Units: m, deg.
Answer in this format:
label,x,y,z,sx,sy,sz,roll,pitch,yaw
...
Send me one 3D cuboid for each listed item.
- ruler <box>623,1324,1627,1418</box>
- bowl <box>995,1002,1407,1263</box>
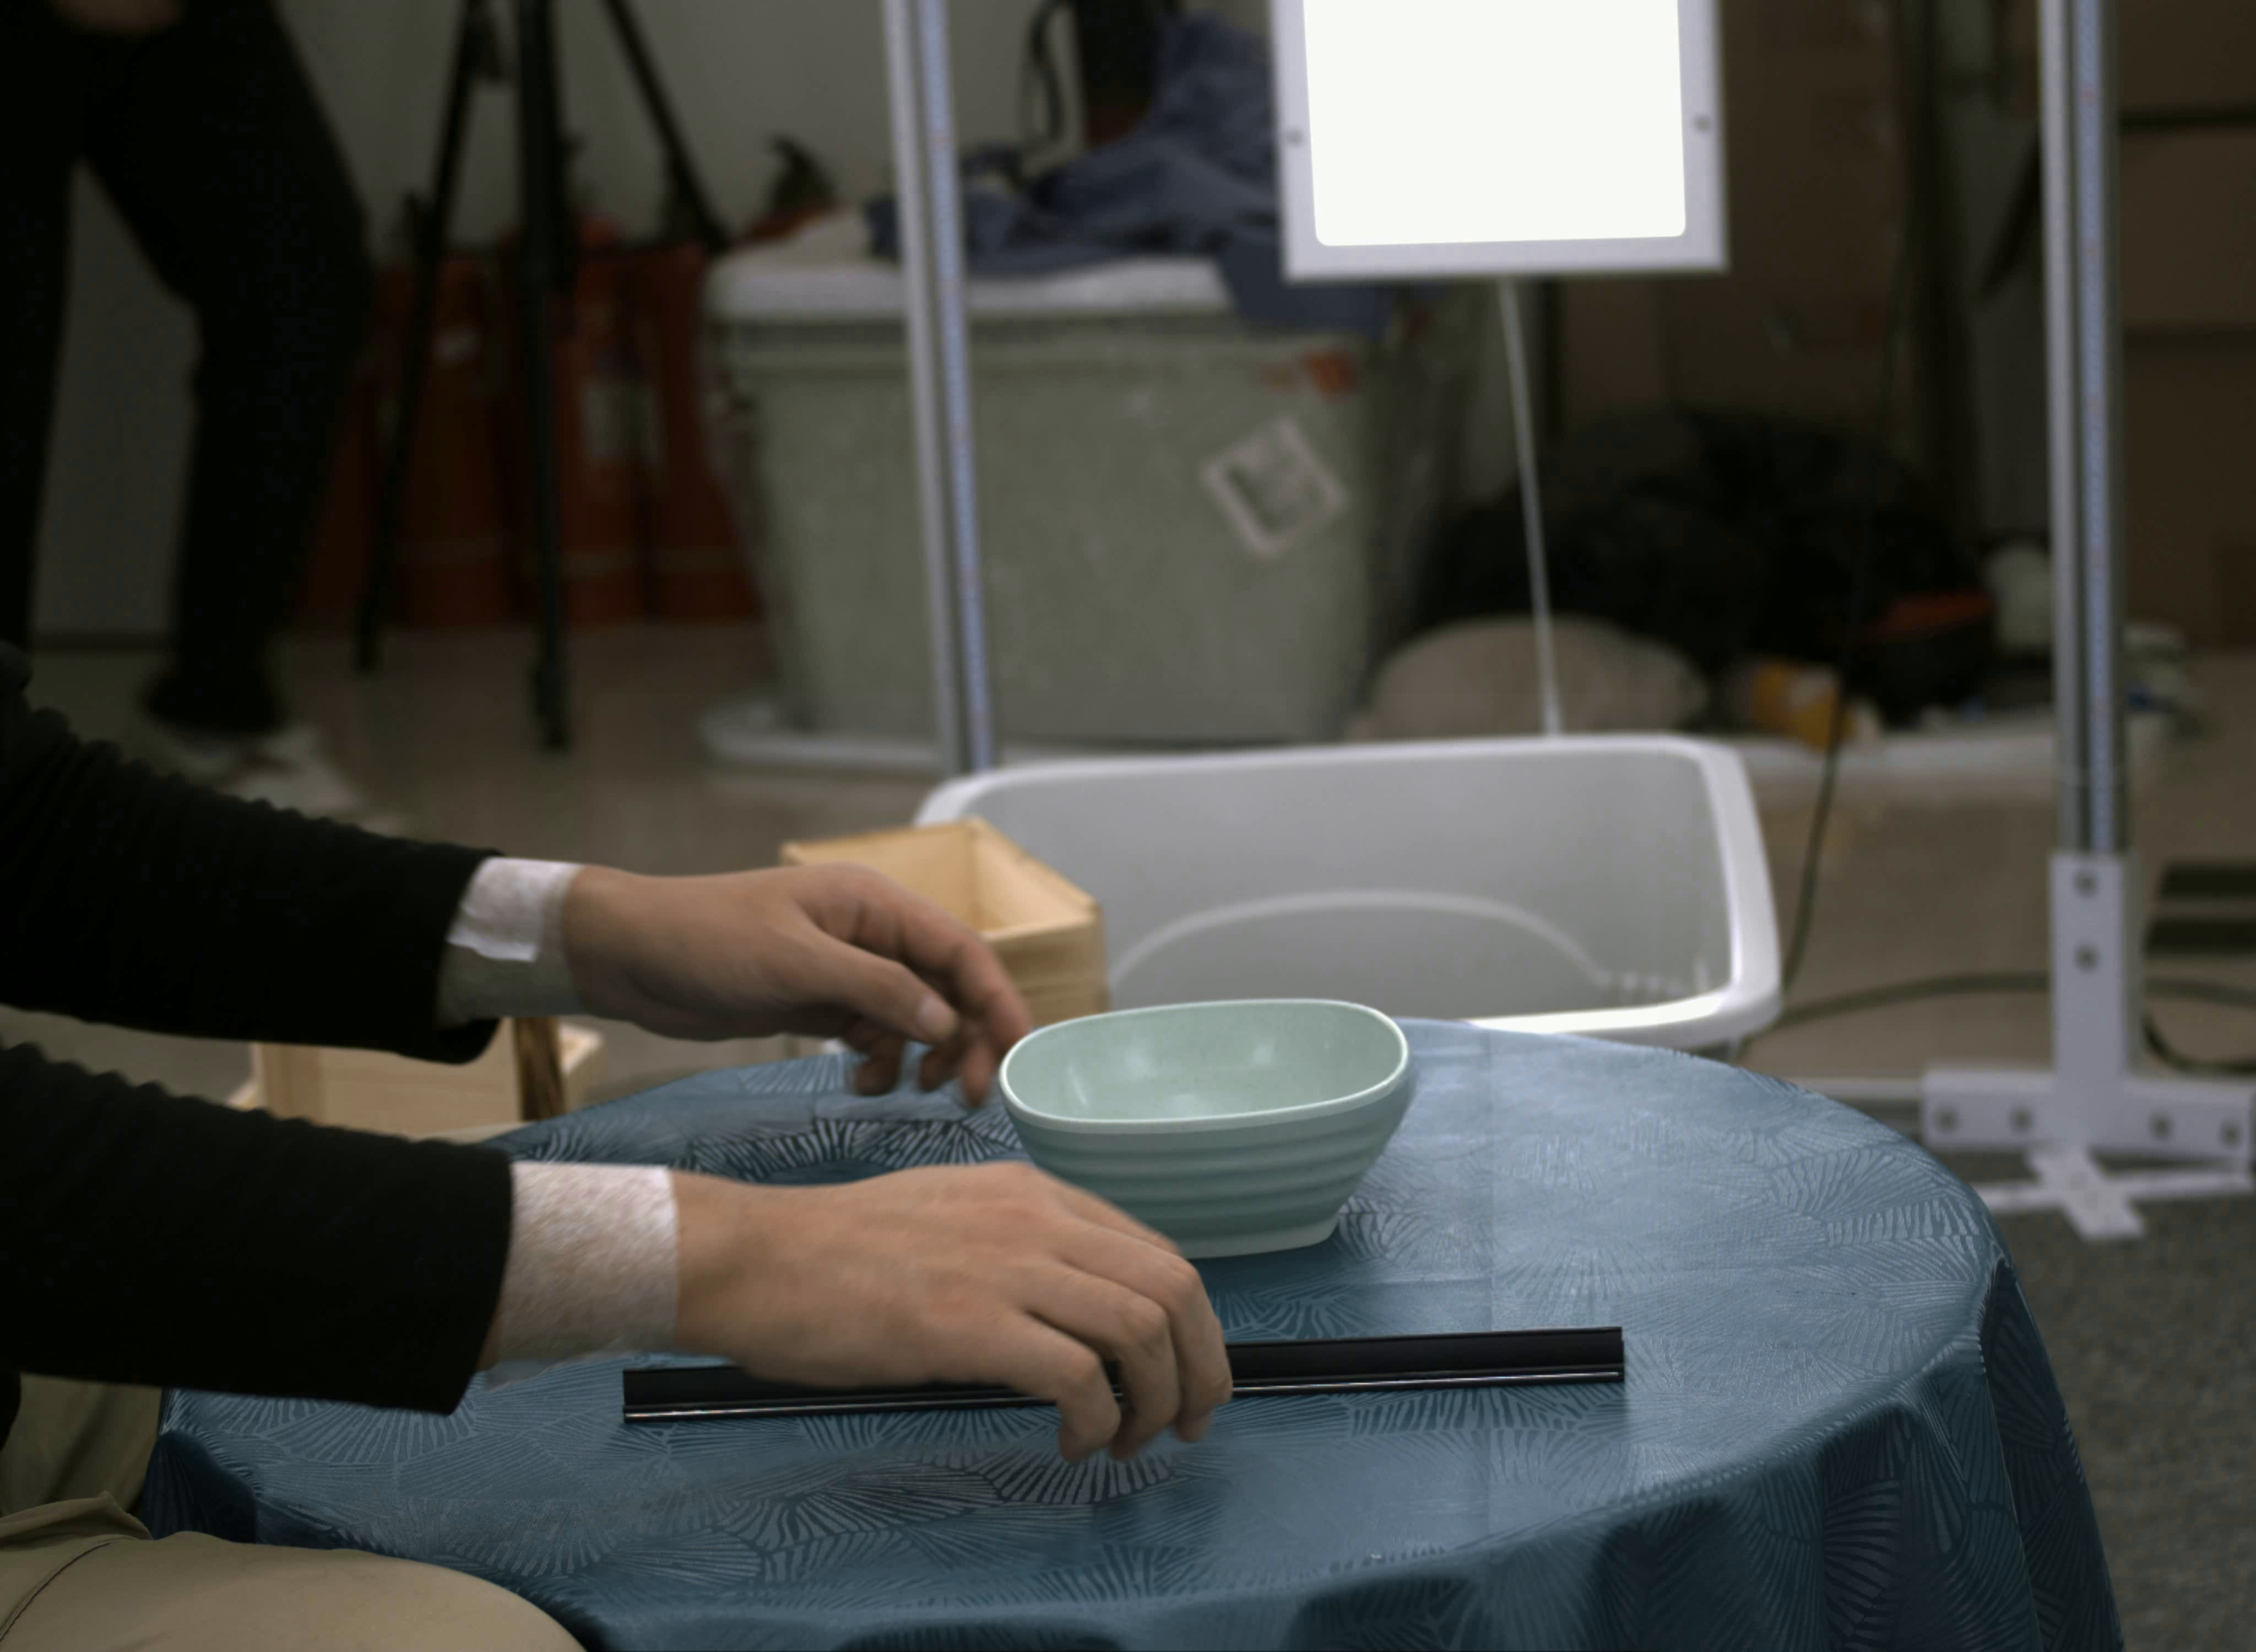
label,x,y,z,sx,sy,sz,roll,pitch,yaw
ruler,-0.001,0.165,1.709,0.314,0.017,0.039,-3,10,9
bowl,0.026,0.106,1.855,0.151,0.059,0.151,-3,14,-1
